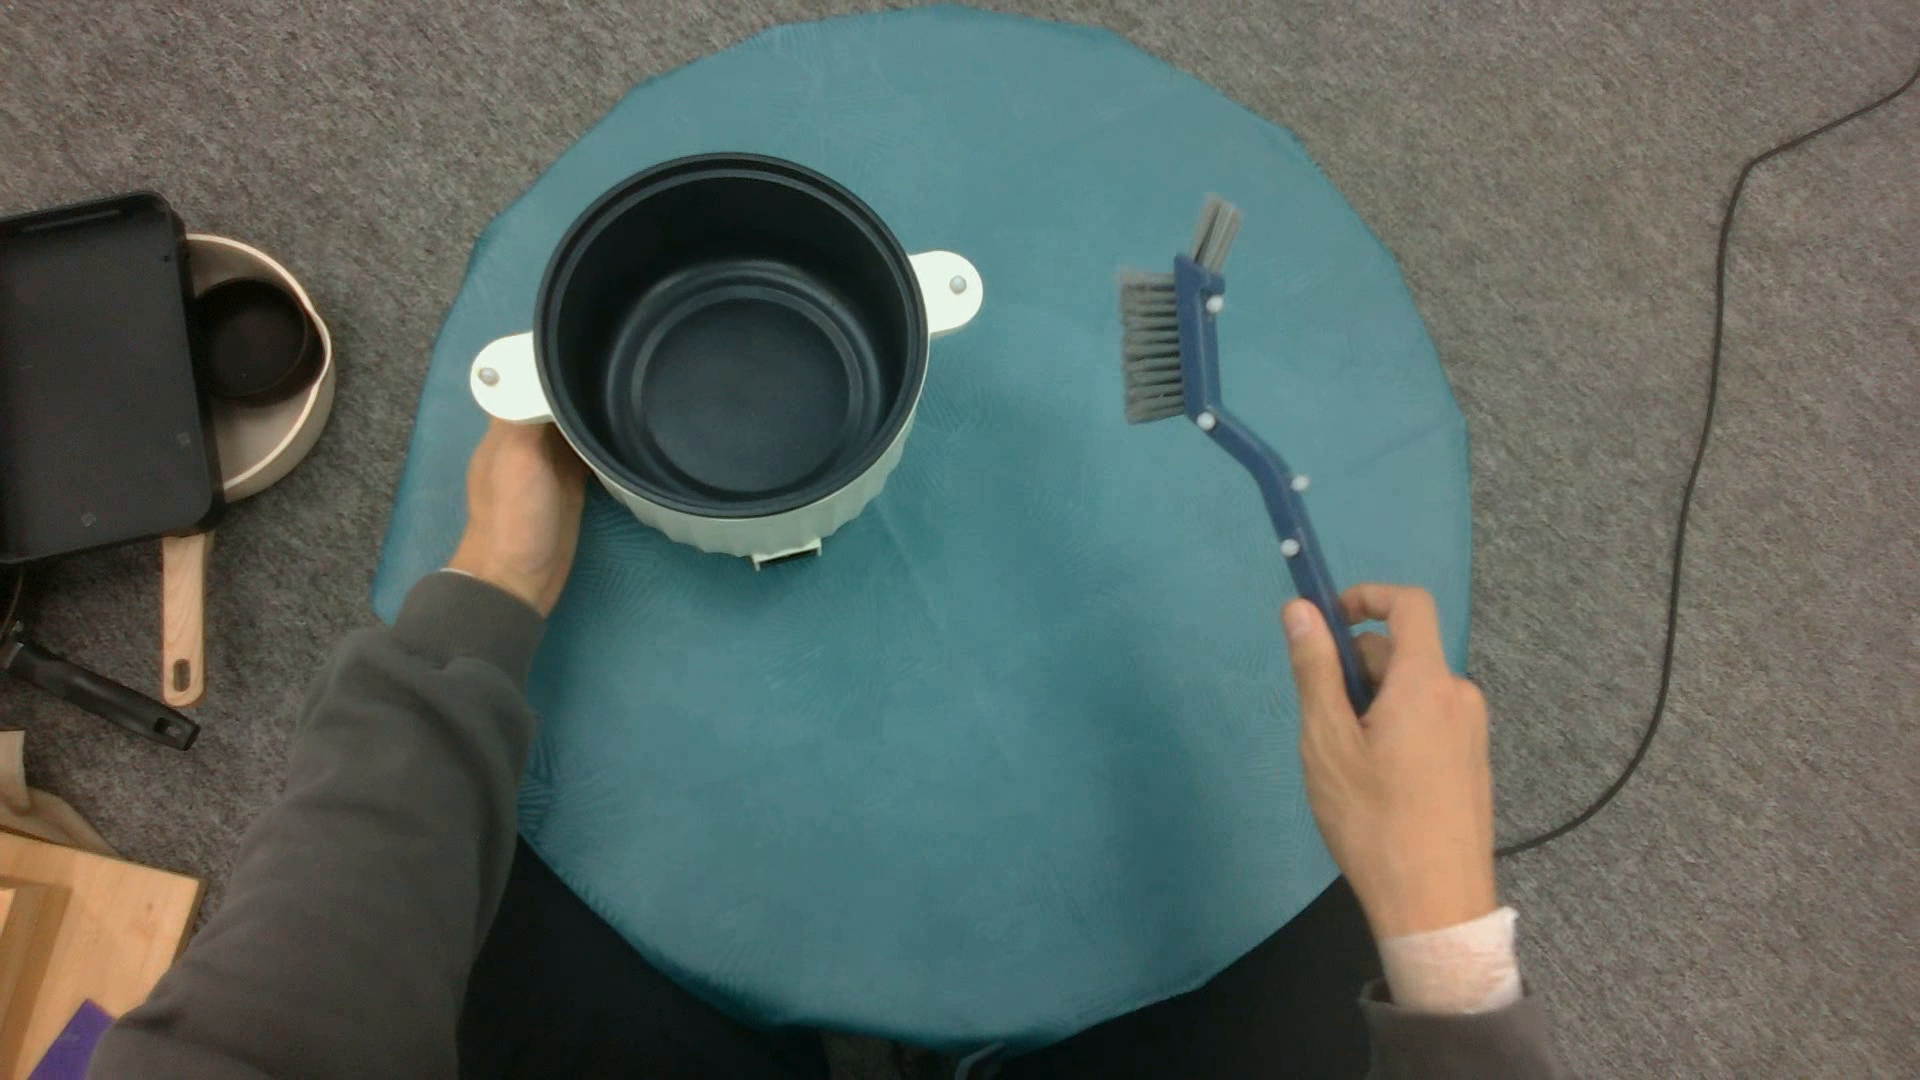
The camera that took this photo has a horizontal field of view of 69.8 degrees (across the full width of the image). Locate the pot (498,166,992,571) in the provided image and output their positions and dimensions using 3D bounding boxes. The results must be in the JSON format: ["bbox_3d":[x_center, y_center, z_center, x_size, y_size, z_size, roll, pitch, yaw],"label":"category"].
[{"bbox_3d":[-0.108,-0.086,0.719,0.241,0.142,0.190,-15,83,-10],"label":"pot"}]

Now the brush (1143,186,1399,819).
[{"bbox_3d":[0.154,-0.016,0.609,0.095,0.033,0.273,-30,81,25],"label":"brush"}]
